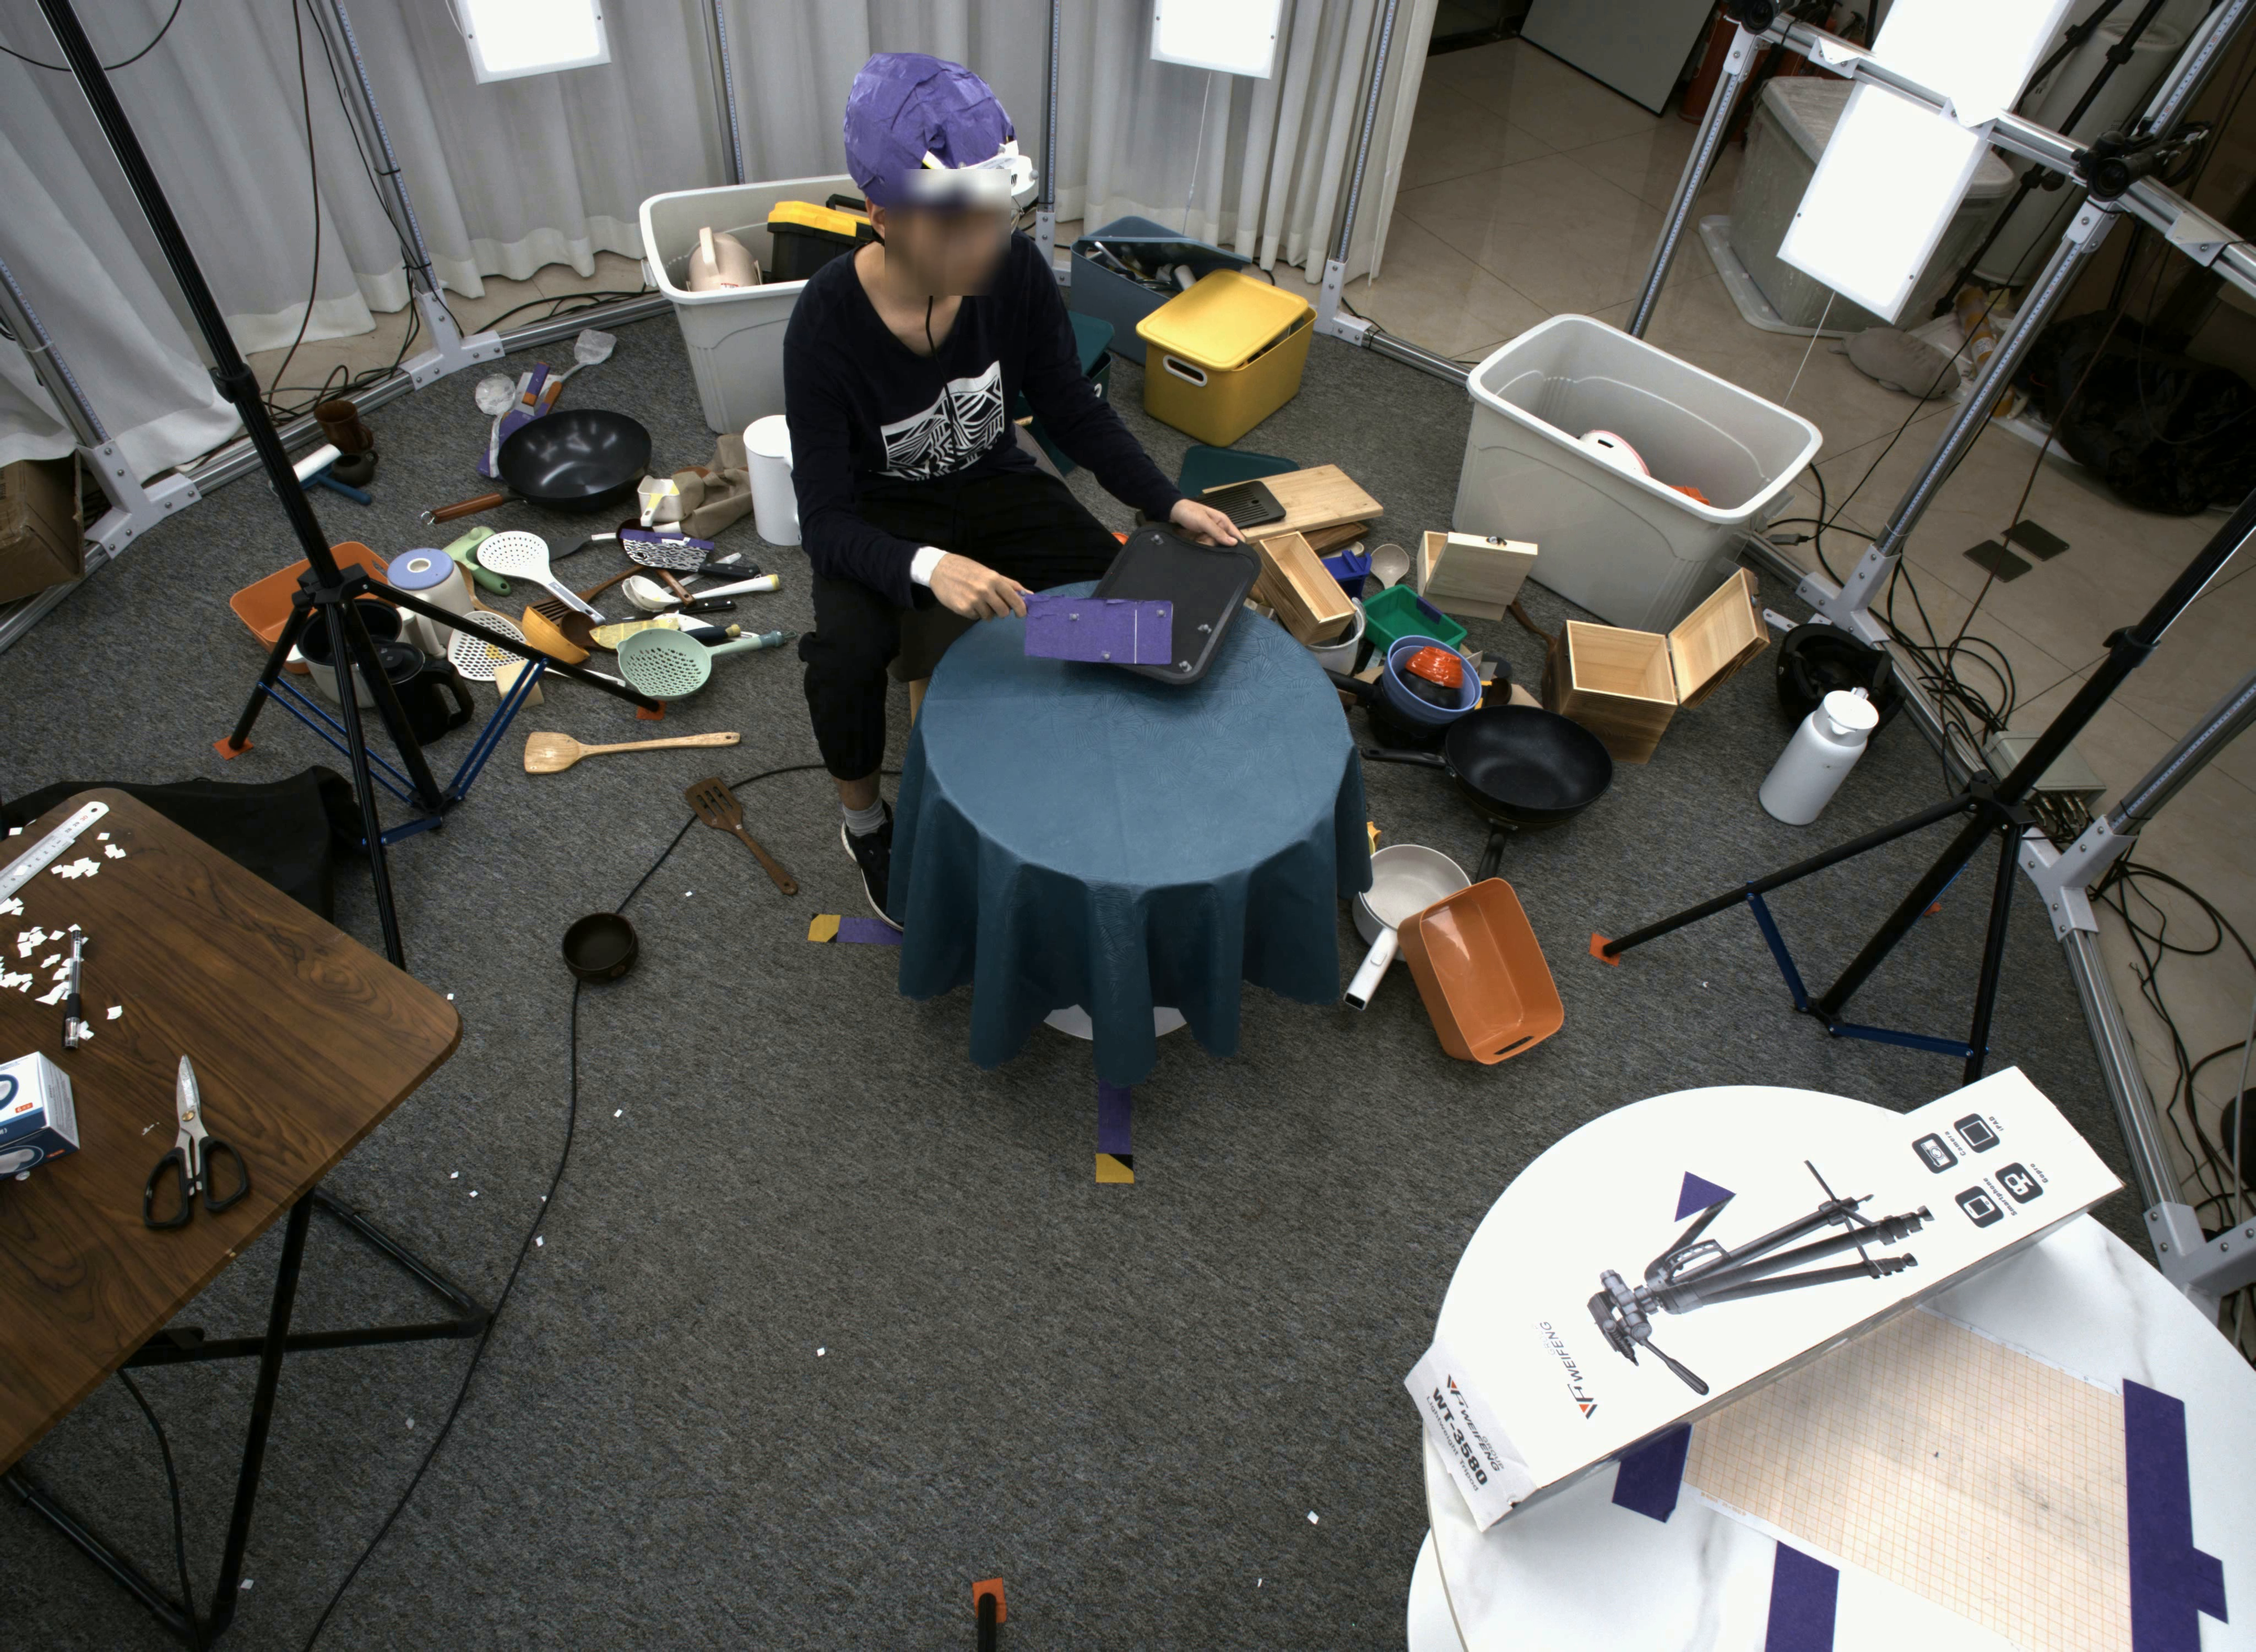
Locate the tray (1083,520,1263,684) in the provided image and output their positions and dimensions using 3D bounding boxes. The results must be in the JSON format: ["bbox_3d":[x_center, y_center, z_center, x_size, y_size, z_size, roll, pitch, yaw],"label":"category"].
[{"bbox_3d":[0.063,-0.344,1.900,0.212,0.009,0.331,17,56,18],"label":"tray"}]

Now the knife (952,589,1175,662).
[{"bbox_3d":[-0.091,-0.283,1.811,0.315,0.032,0.104,2,83,1],"label":"knife"}]
